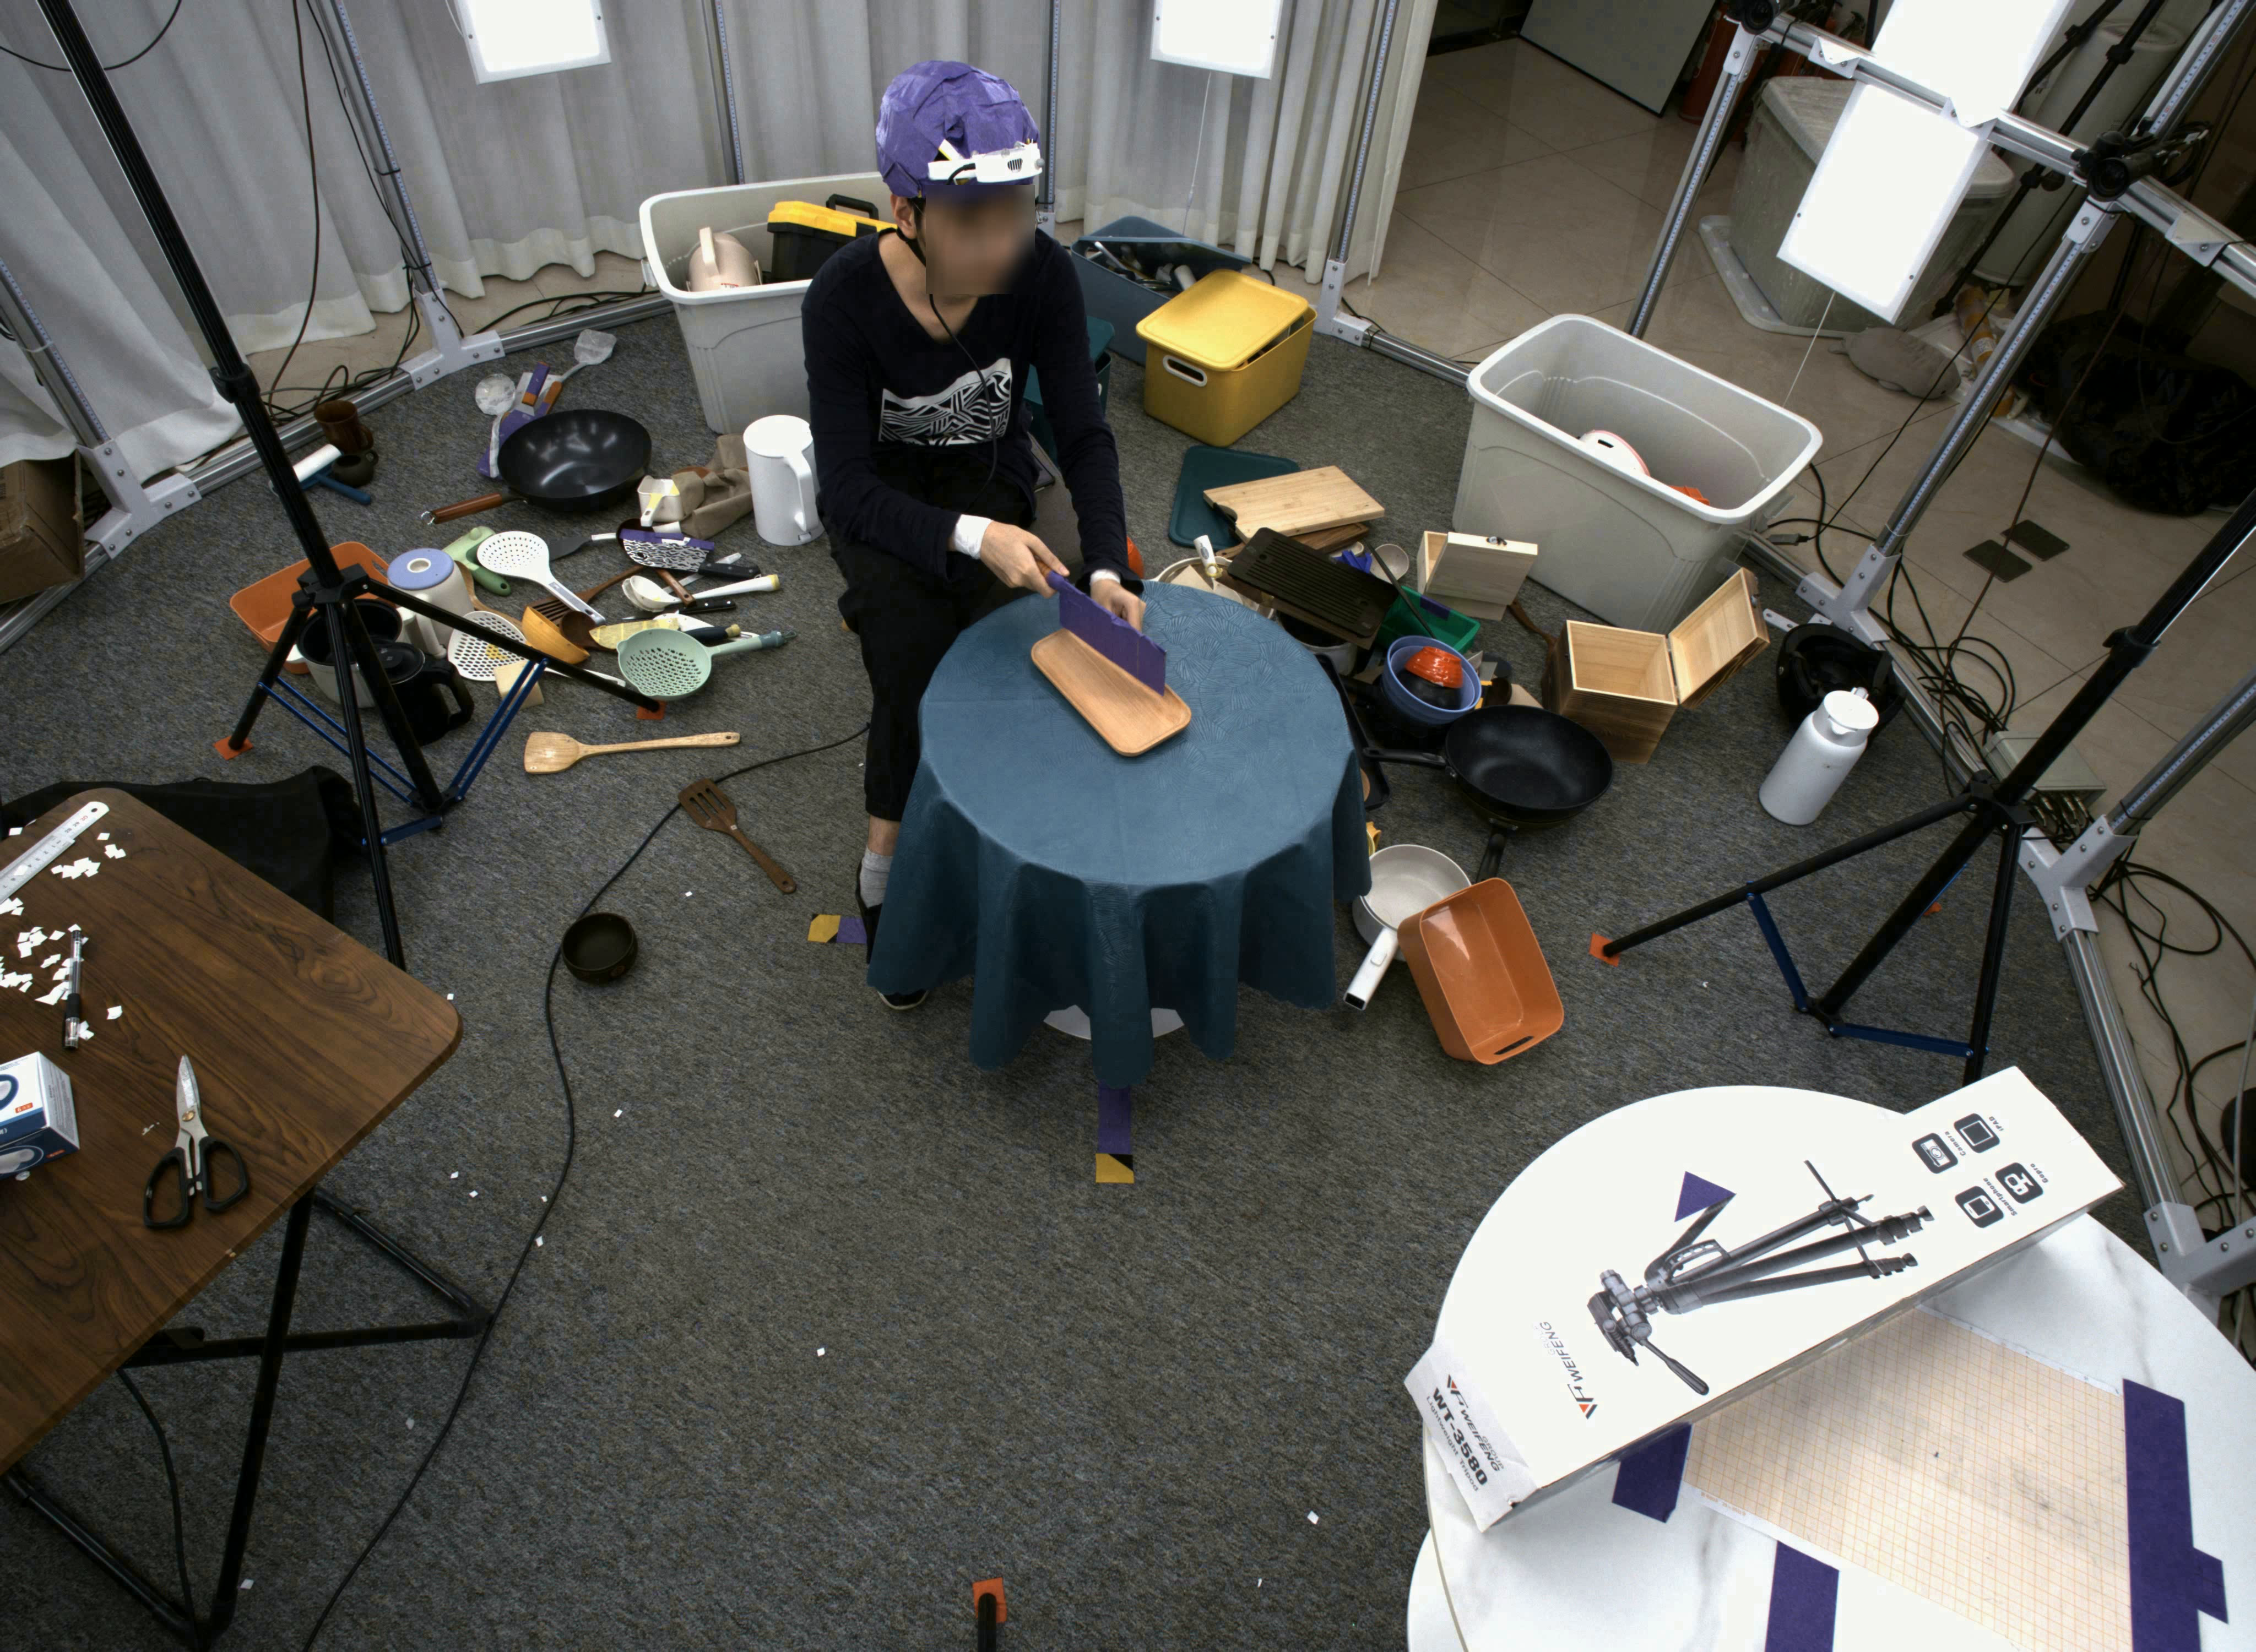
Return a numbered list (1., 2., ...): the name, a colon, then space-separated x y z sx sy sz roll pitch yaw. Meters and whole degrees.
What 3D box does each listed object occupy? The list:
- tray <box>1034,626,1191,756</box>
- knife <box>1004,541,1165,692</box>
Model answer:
1. tray: -0.024 -0.201 1.819 0.131 0.022 0.255 -26 57 -20
2. knife: -0.063 -0.294 1.823 0.032 0.101 0.320 -34 59 -27
